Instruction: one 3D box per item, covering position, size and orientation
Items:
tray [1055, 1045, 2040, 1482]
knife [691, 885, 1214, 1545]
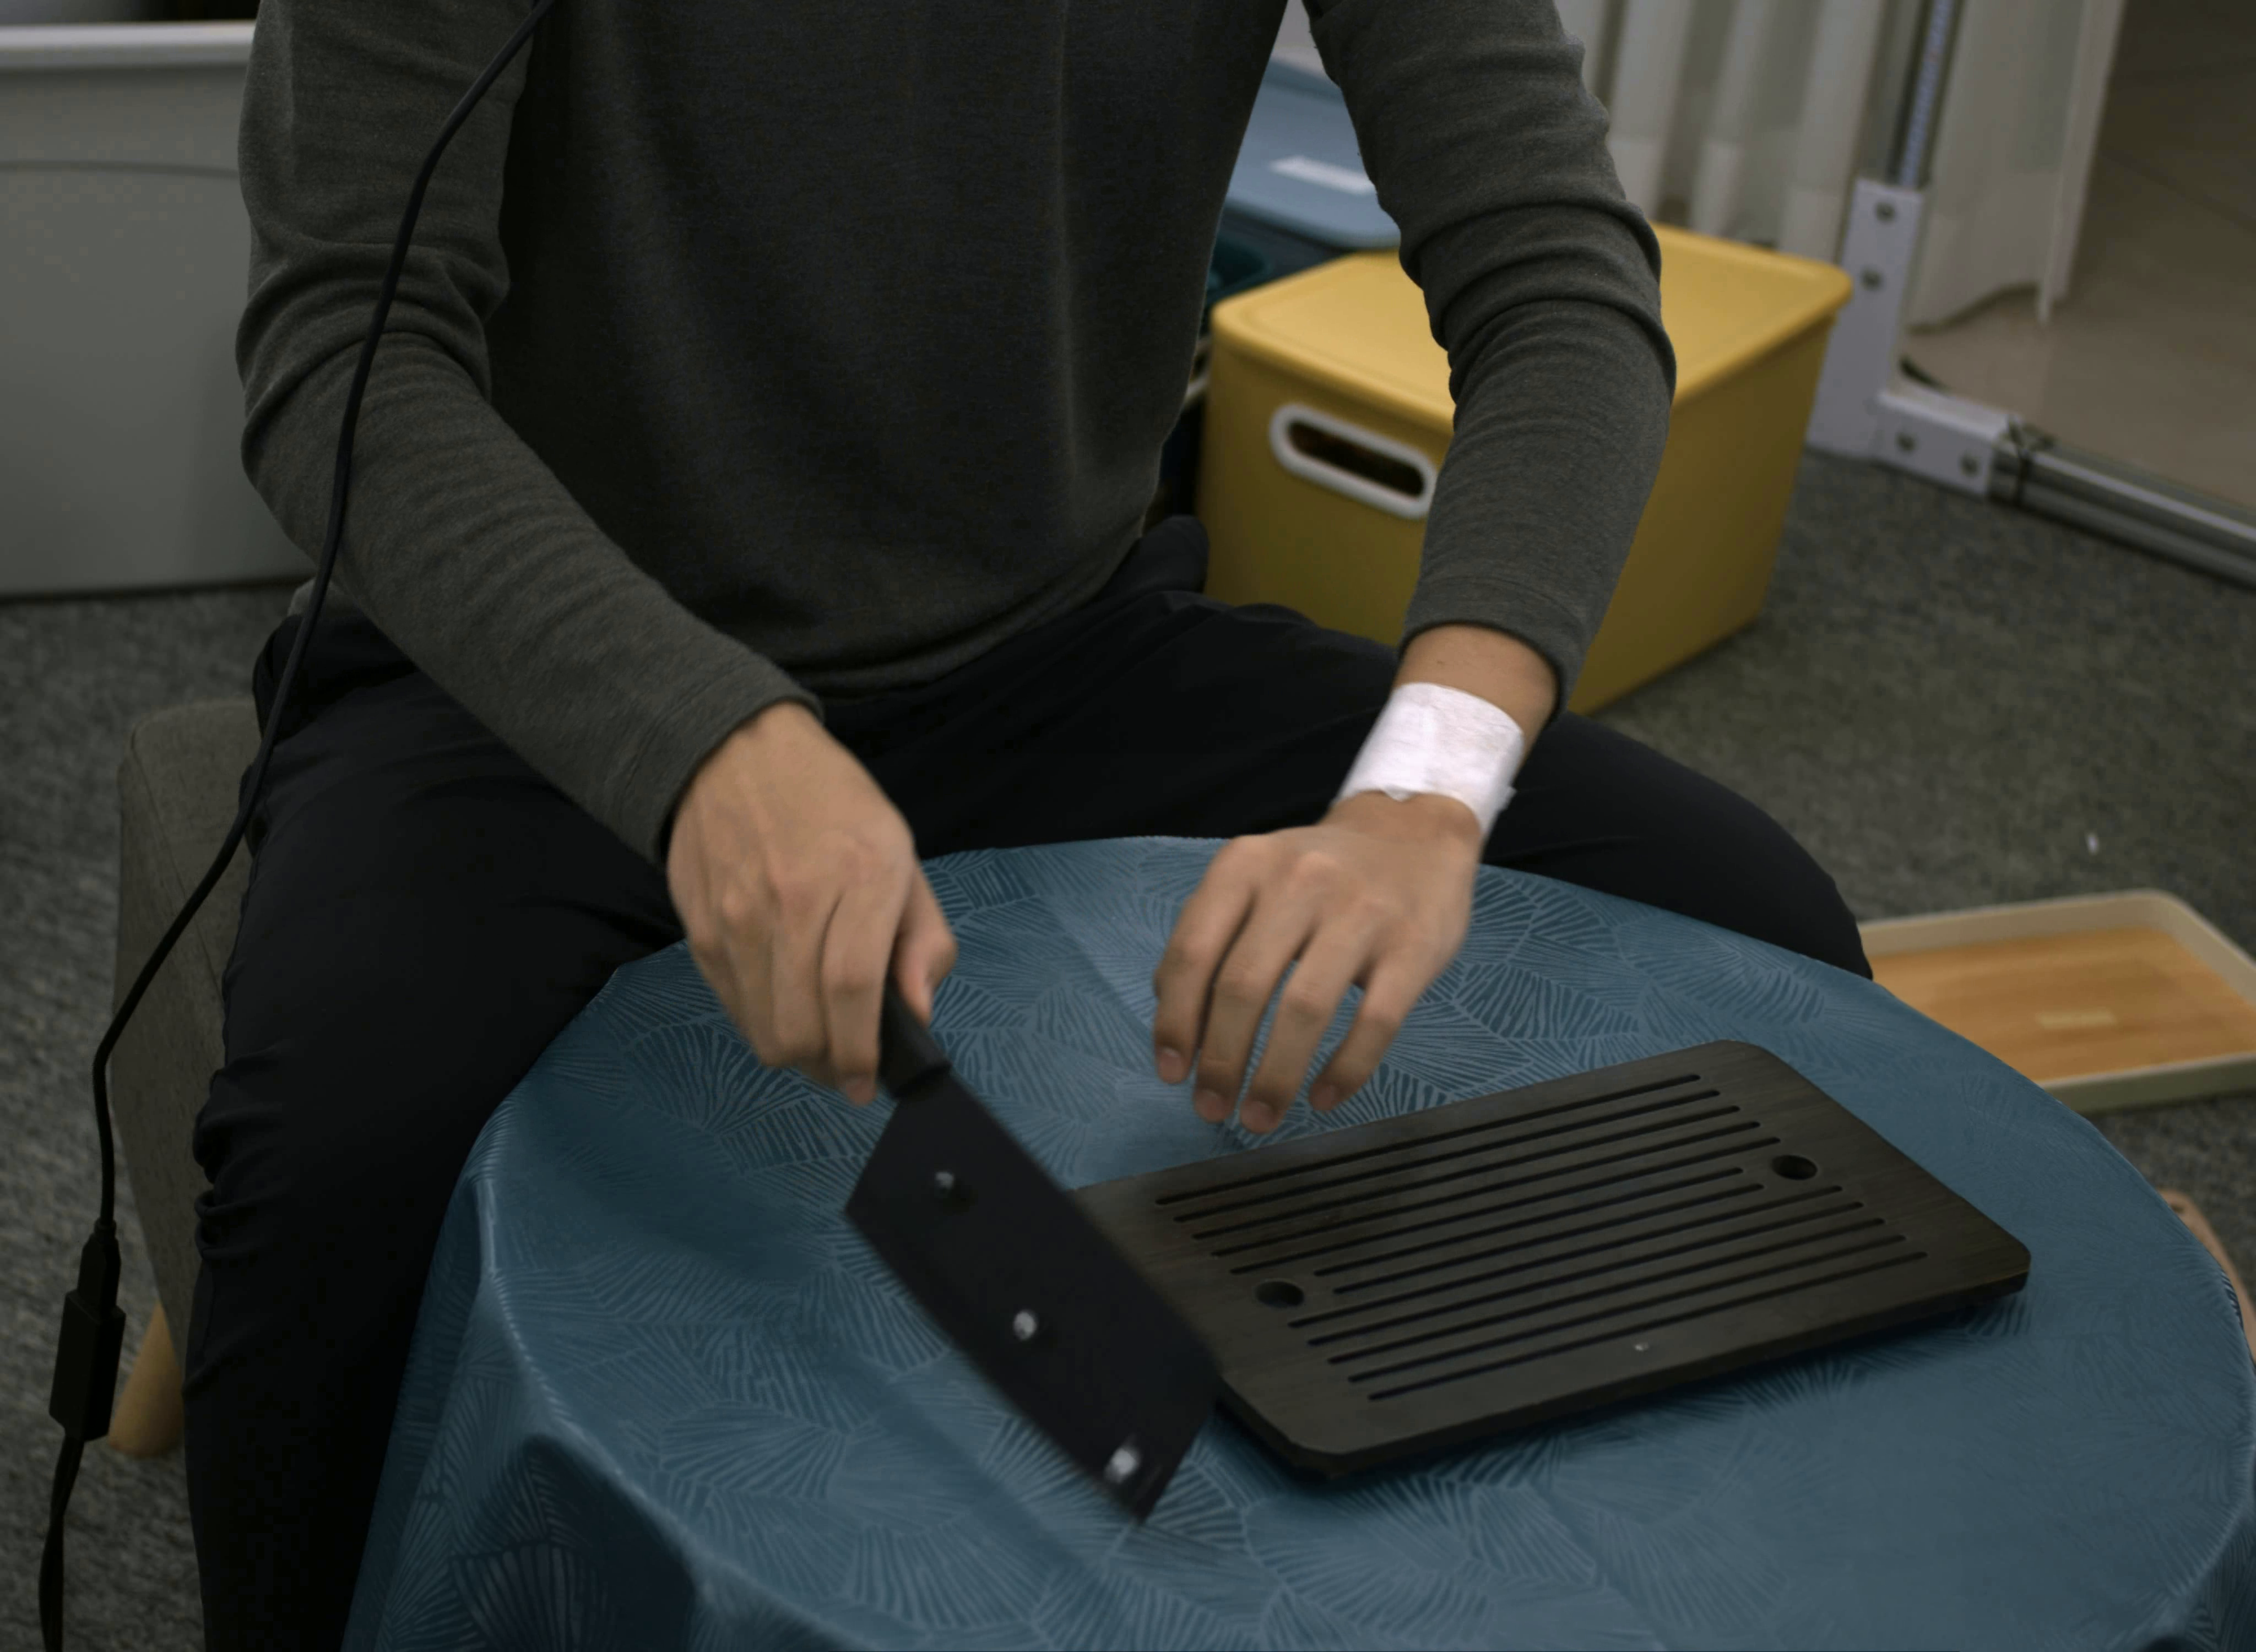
[{"bbox_3d":[0.141,0.143,1.778,0.304,0.018,0.171,-10,30,-30],"label":"tray"},{"bbox_3d":[-0.065,0.114,1.690,0.020,0.081,0.305,19,23,-44],"label":"knife"}]
